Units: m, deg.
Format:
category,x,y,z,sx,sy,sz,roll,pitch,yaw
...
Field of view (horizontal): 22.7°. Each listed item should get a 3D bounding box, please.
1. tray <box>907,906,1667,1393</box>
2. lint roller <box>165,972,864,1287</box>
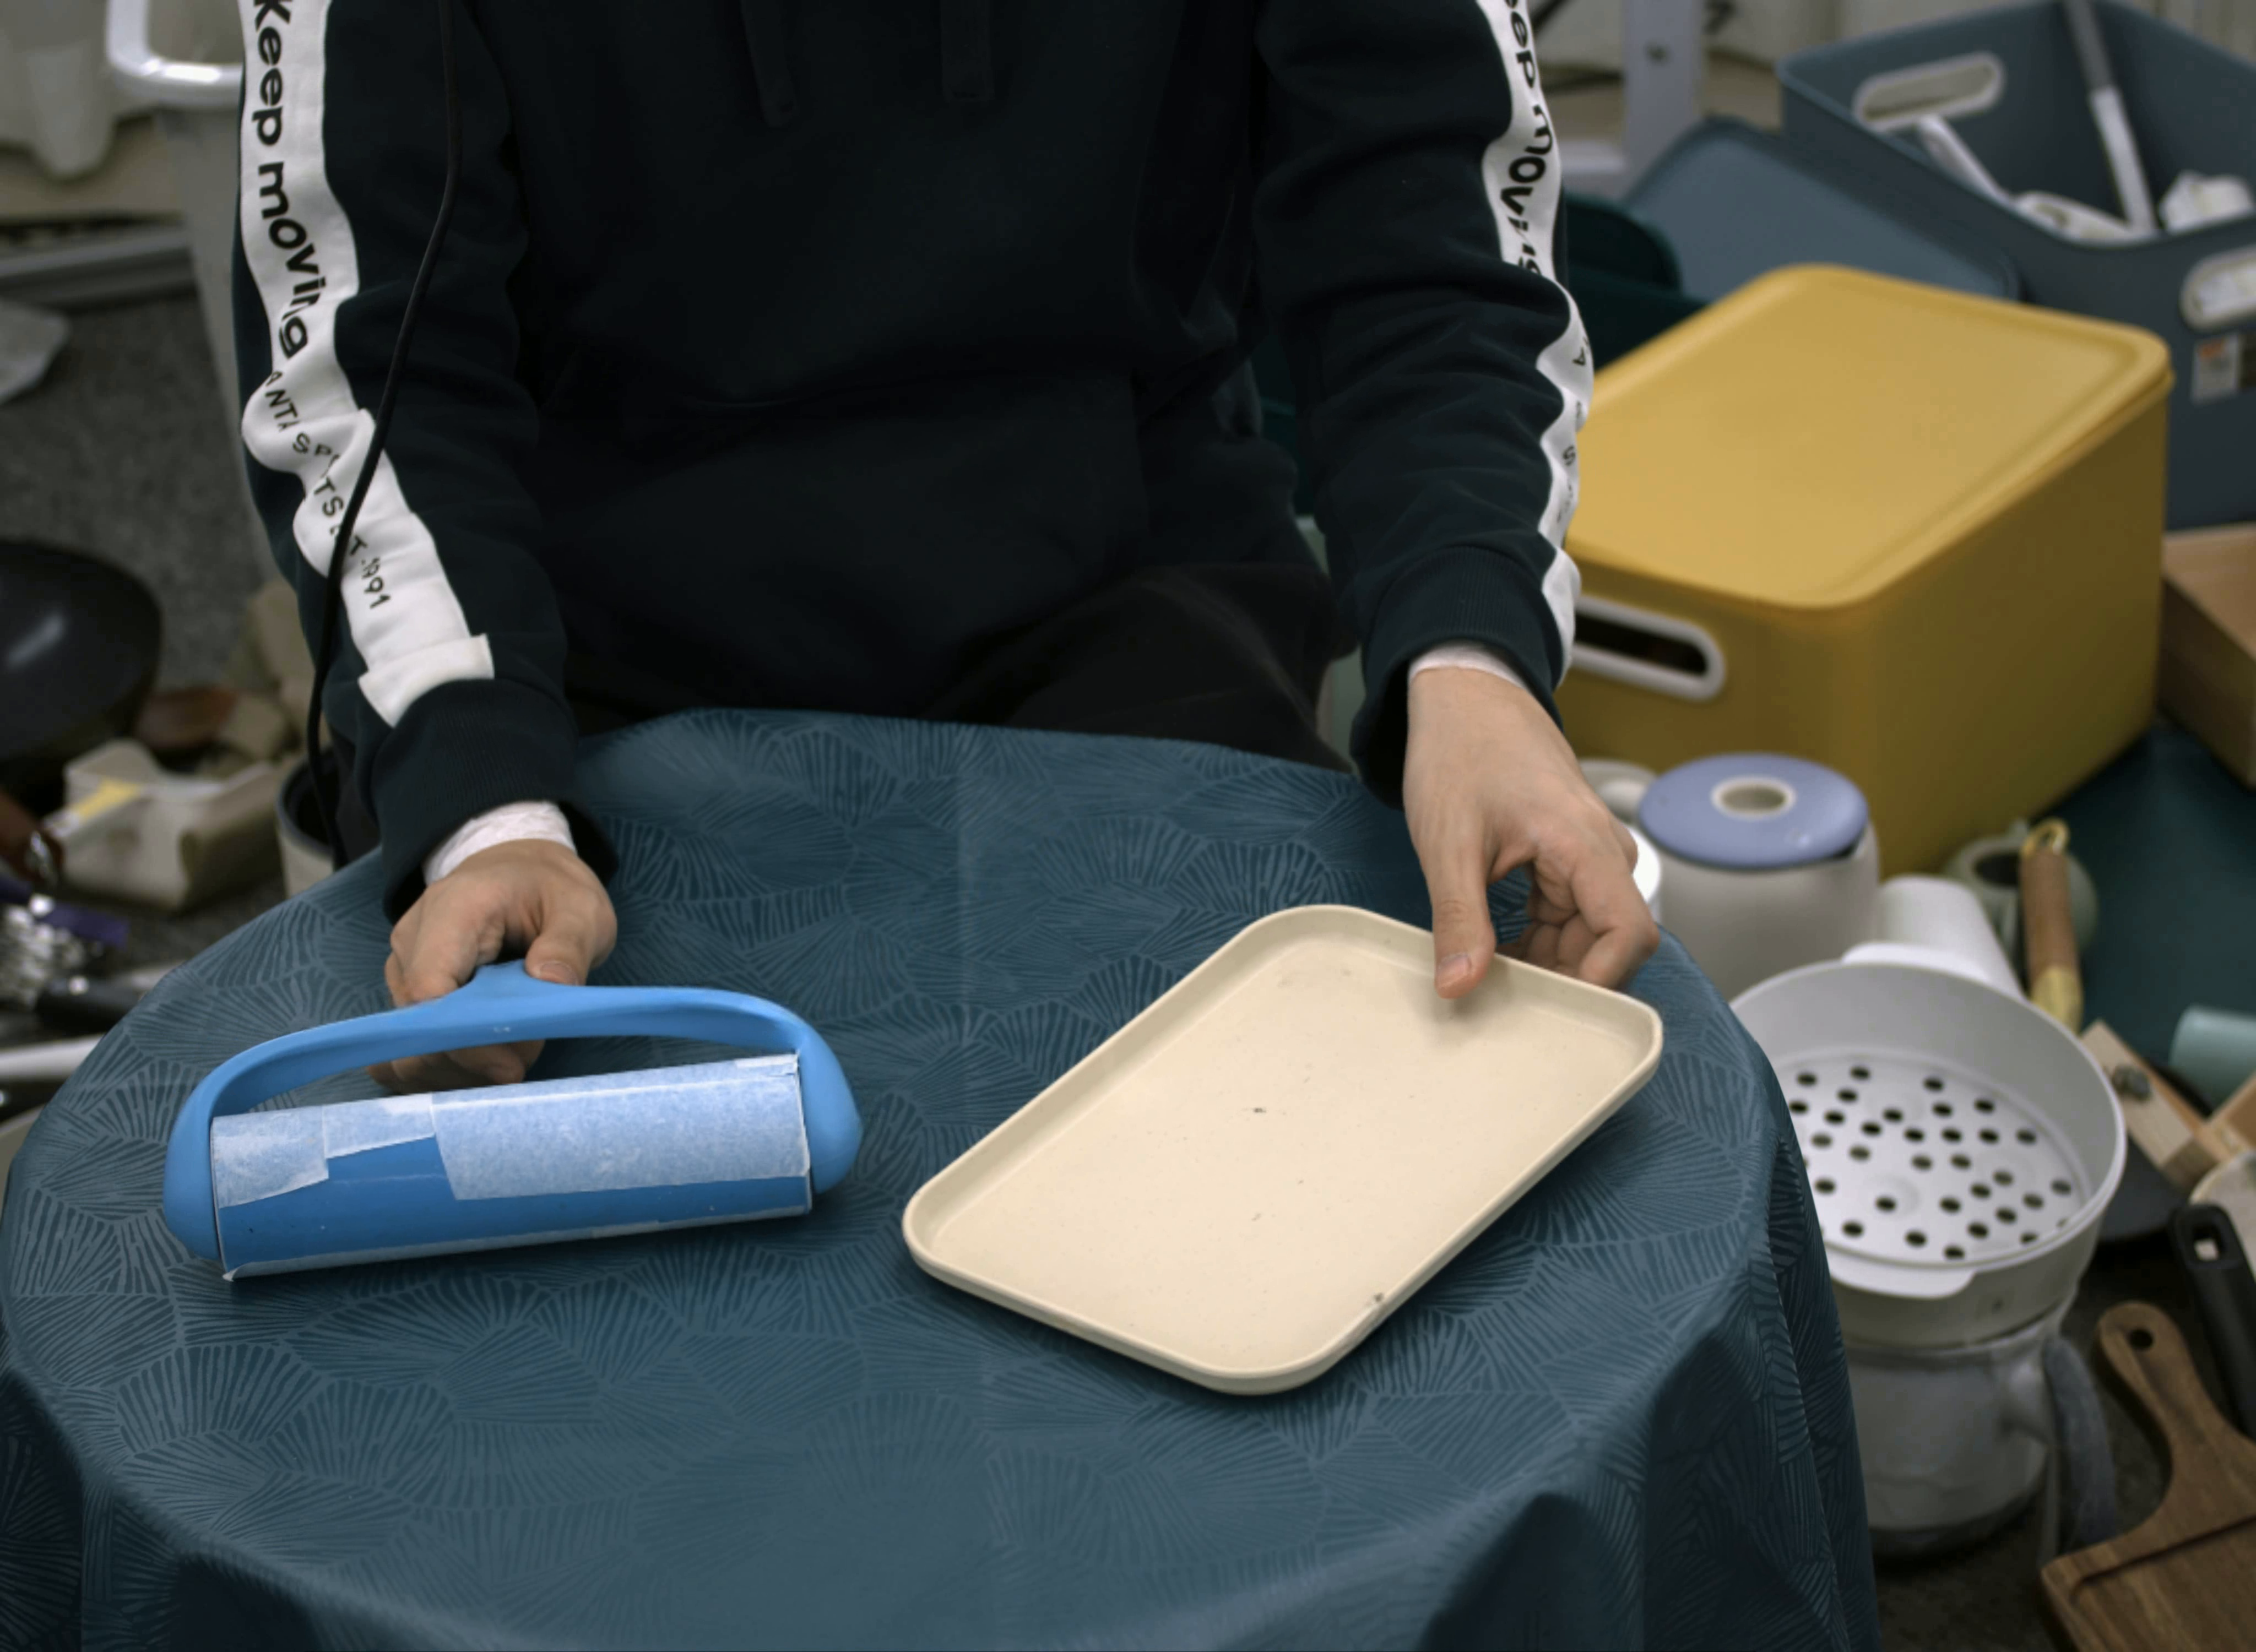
category,x,y,z,sx,sy,sz,roll,pitch,yaw
tray,0.054,0.105,1.851,0.170,0.017,0.243,17,38,35
lint roller,-0.211,0.085,1.891,0.228,0.067,0.182,-8,29,-7
